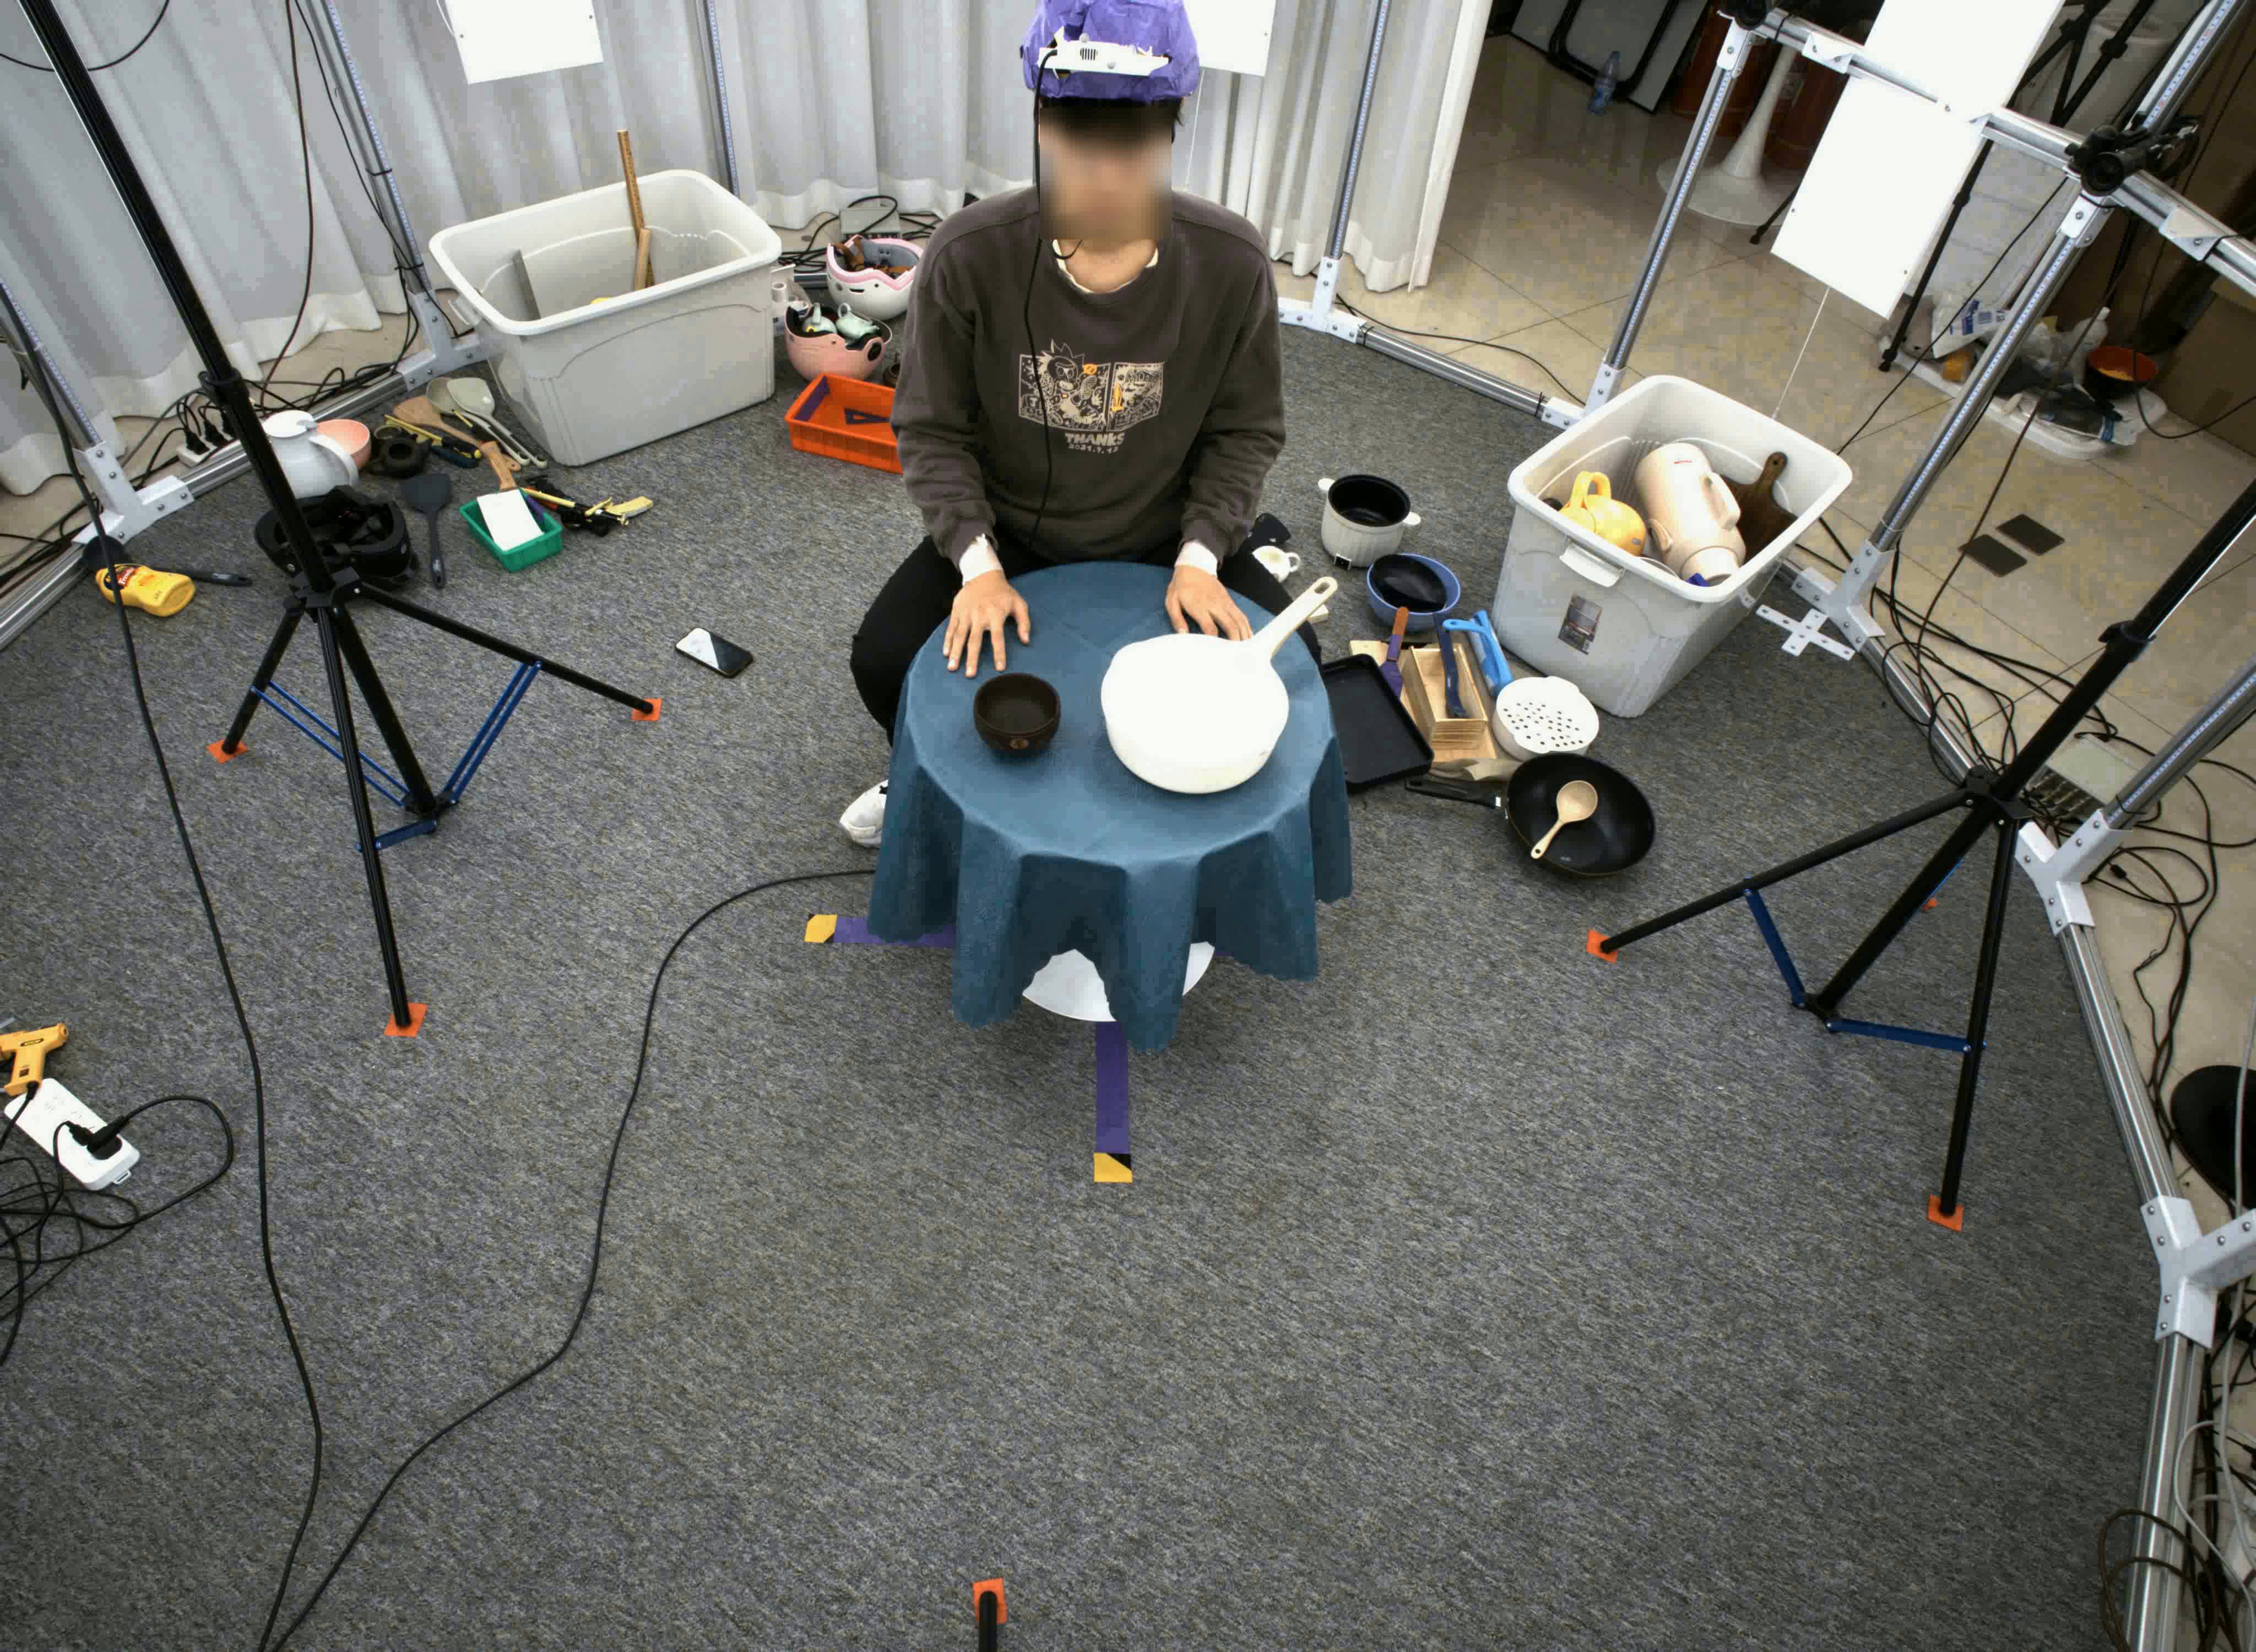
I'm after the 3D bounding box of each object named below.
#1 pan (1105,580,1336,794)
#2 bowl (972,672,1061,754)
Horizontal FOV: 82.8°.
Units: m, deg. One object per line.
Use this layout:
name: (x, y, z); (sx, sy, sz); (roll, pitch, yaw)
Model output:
pan: (0.154, -0.201, 1.786); (0.267, 0.099, 0.439); (33, 55, 25)
bowl: (-0.150, -0.144, 1.735); (0.118, 0.068, 0.121); (1, 50, -1)
